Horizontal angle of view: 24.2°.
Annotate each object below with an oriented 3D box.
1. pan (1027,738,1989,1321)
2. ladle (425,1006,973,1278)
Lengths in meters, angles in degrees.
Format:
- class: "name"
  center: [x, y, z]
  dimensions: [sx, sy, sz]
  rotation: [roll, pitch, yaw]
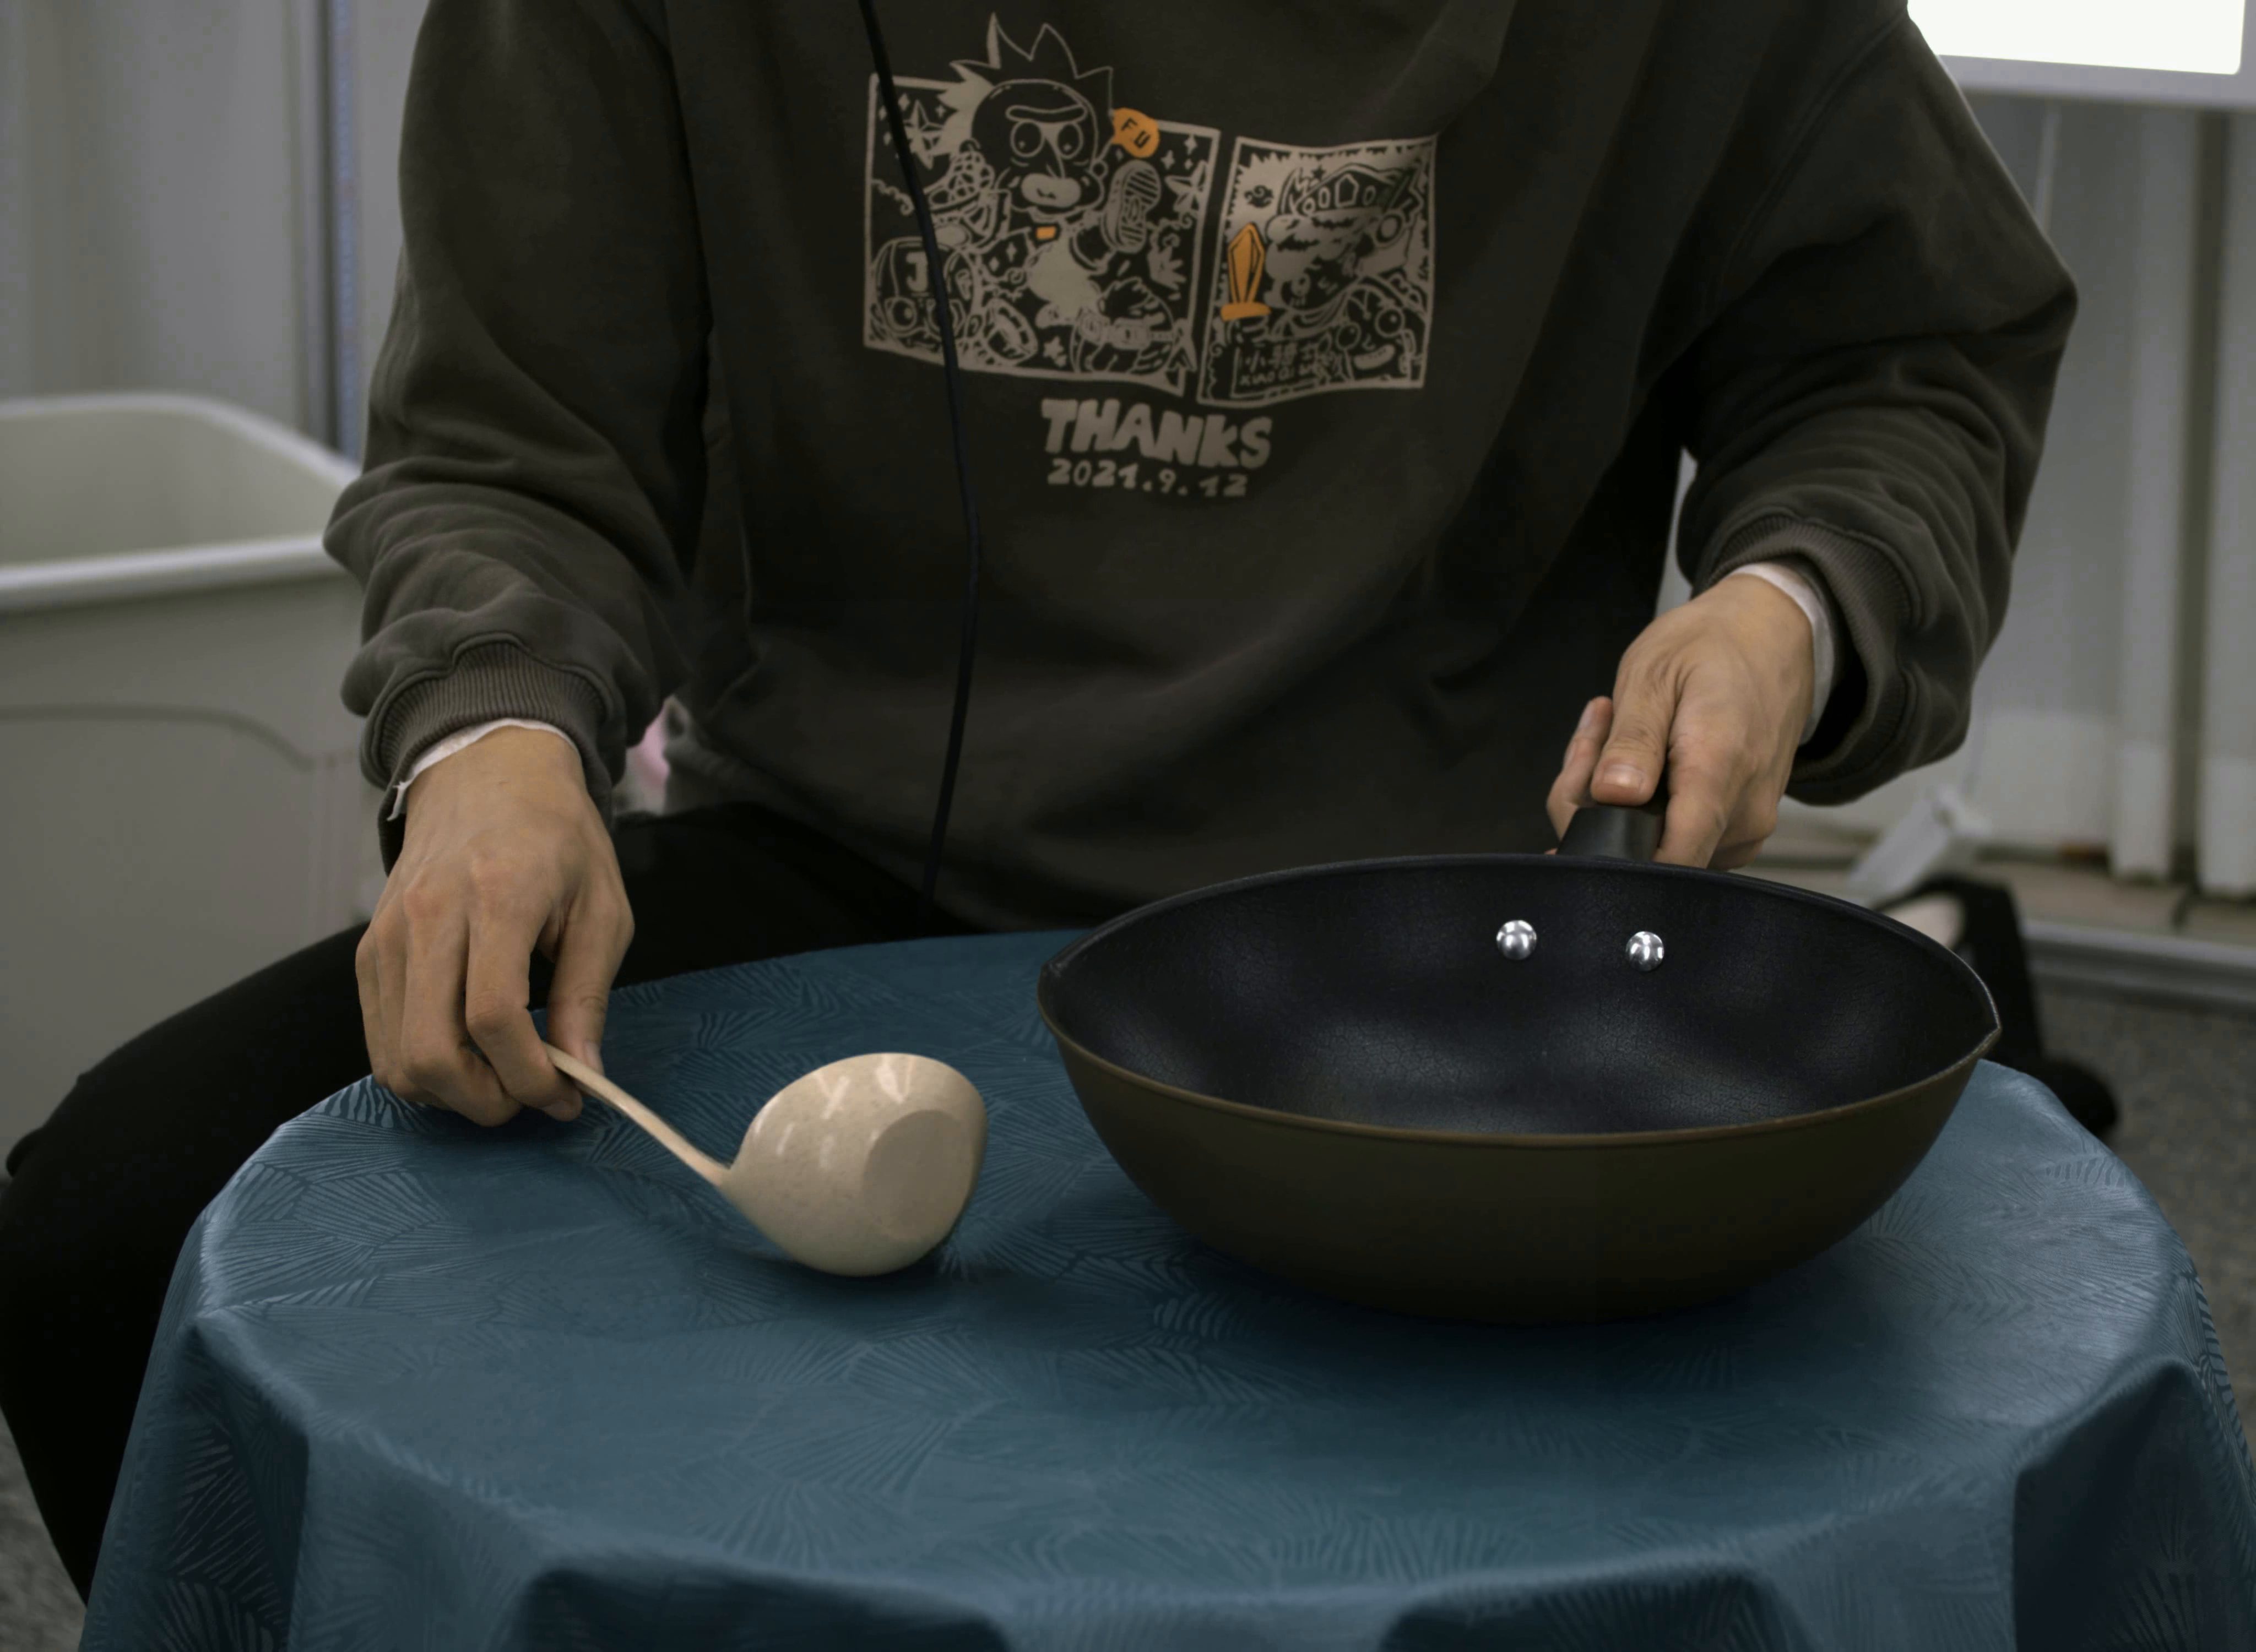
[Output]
- class: "pan"
  center: [0.134, 0.061, 1.661]
  dimensions: [0.286, 0.087, 0.463]
  rotation: [4, 15, 13]
- class: "ladle"
  center: [-0.136, 0.069, 1.619]
  dimensions: [0.073, 0.073, 0.251]
  rotation: [33, -3, -40]
